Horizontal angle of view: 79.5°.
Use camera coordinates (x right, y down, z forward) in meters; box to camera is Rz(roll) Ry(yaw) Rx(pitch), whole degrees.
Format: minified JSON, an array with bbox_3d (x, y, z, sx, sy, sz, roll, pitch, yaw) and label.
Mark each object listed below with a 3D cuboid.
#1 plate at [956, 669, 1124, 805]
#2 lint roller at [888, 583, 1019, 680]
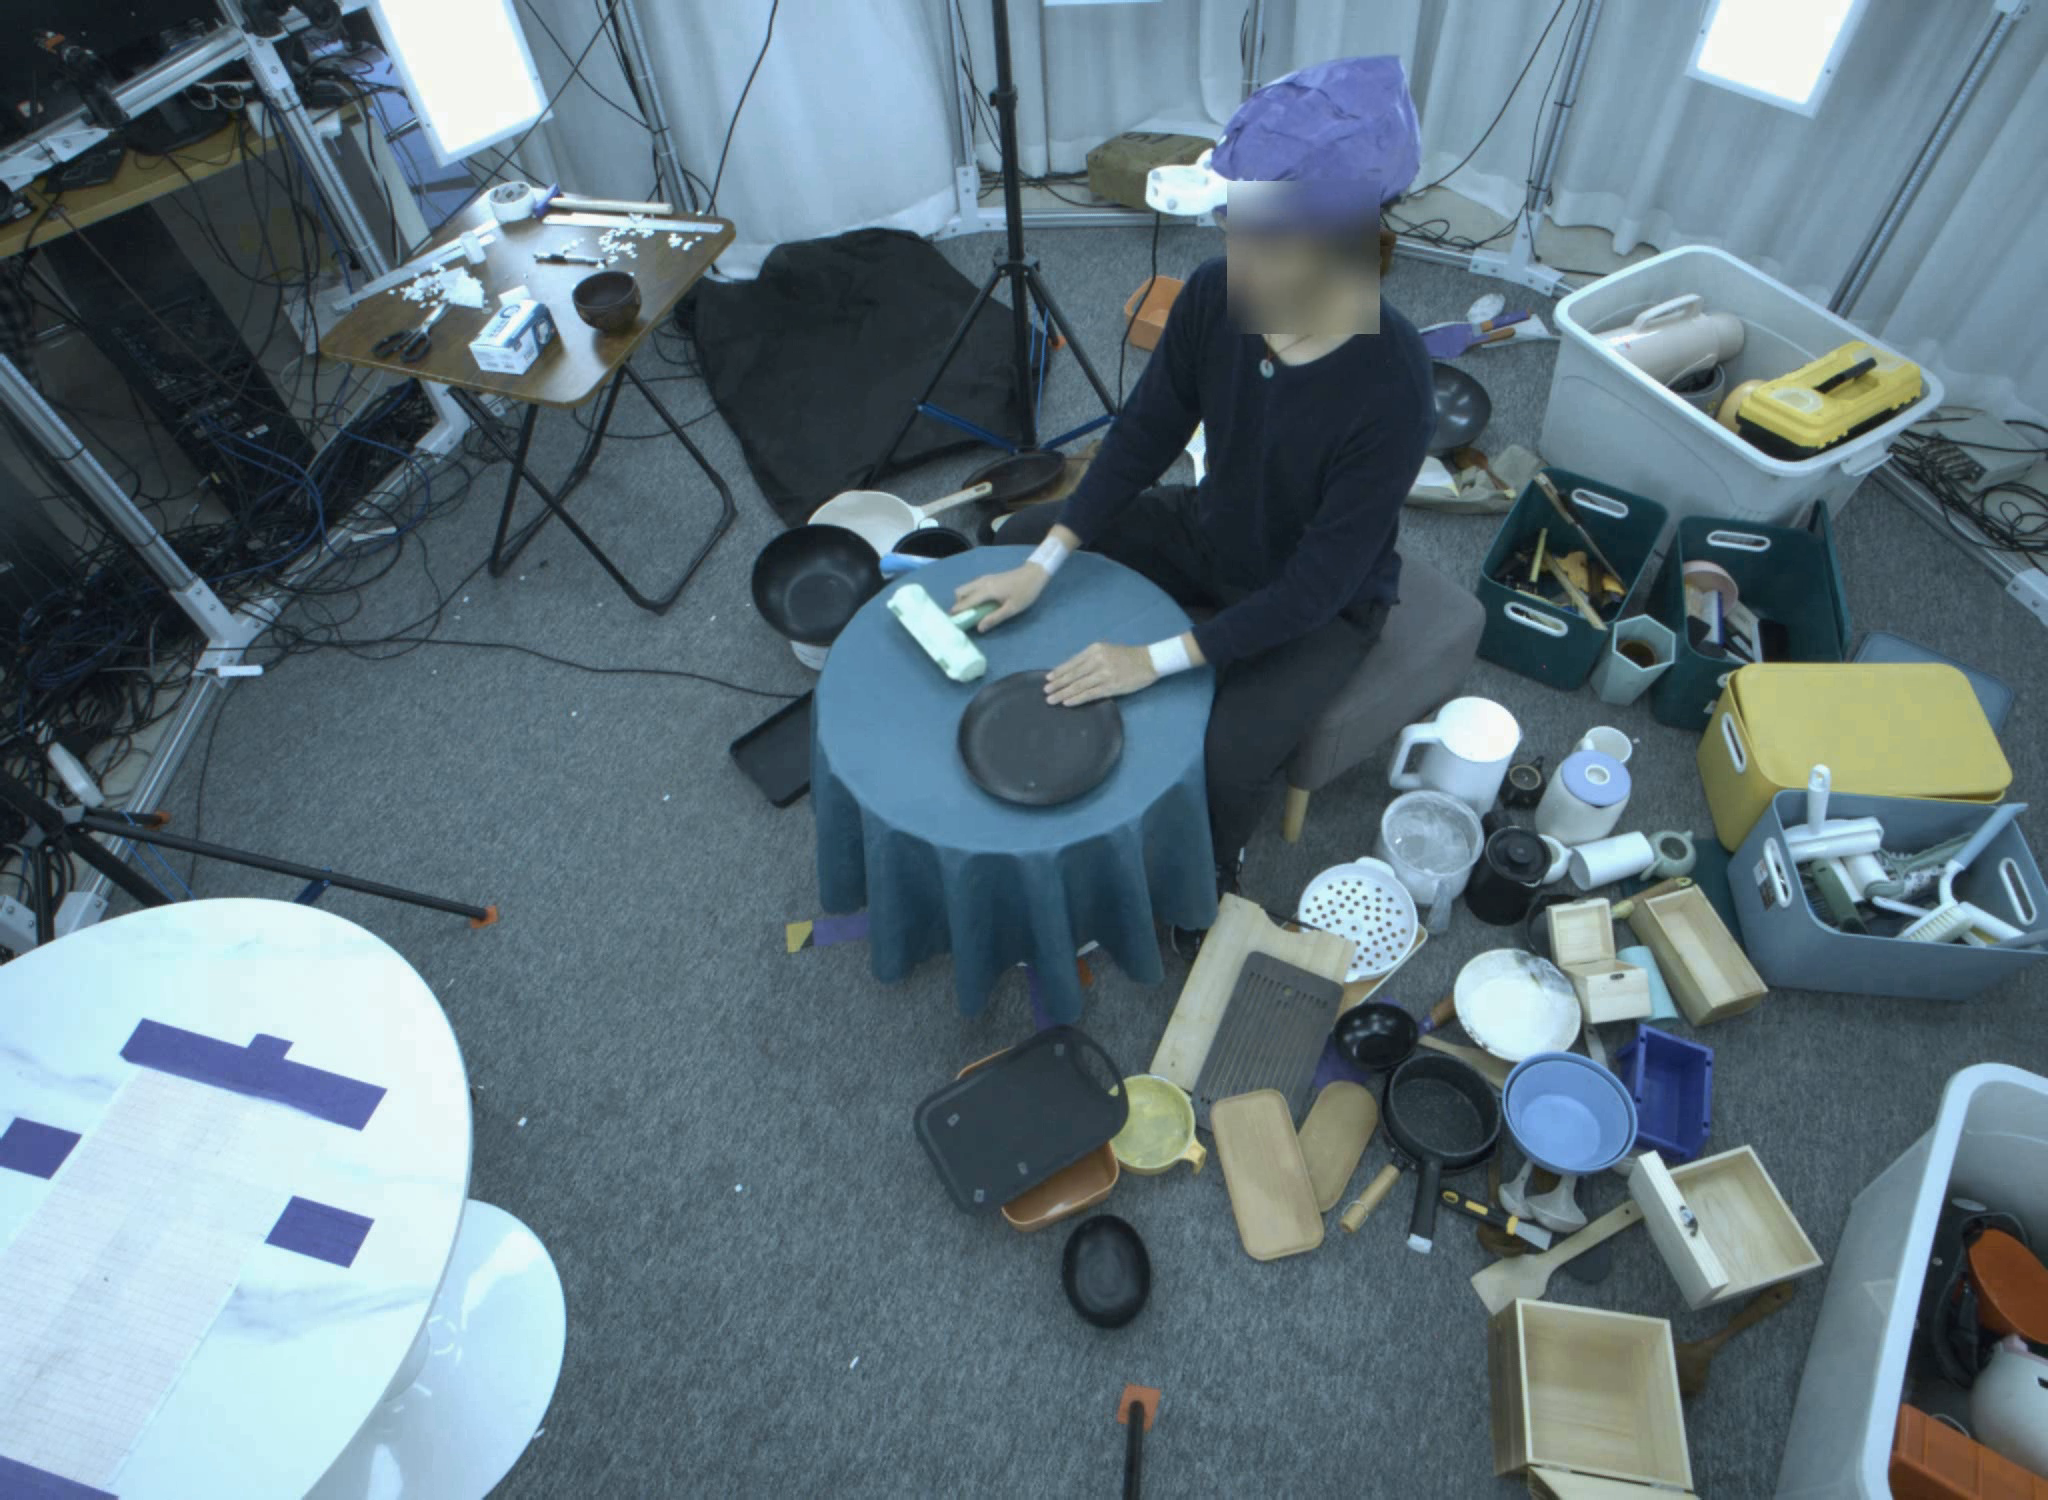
[{"bbox_3d":[0.023,-0.018,1.784,0.244,0.024,0.242,0,55,2],"label":"plate"},{"bbox_3d":[-0.088,-0.217,1.891,0.184,0.083,0.195,-35,61,-13],"label":"lint roller"}]
